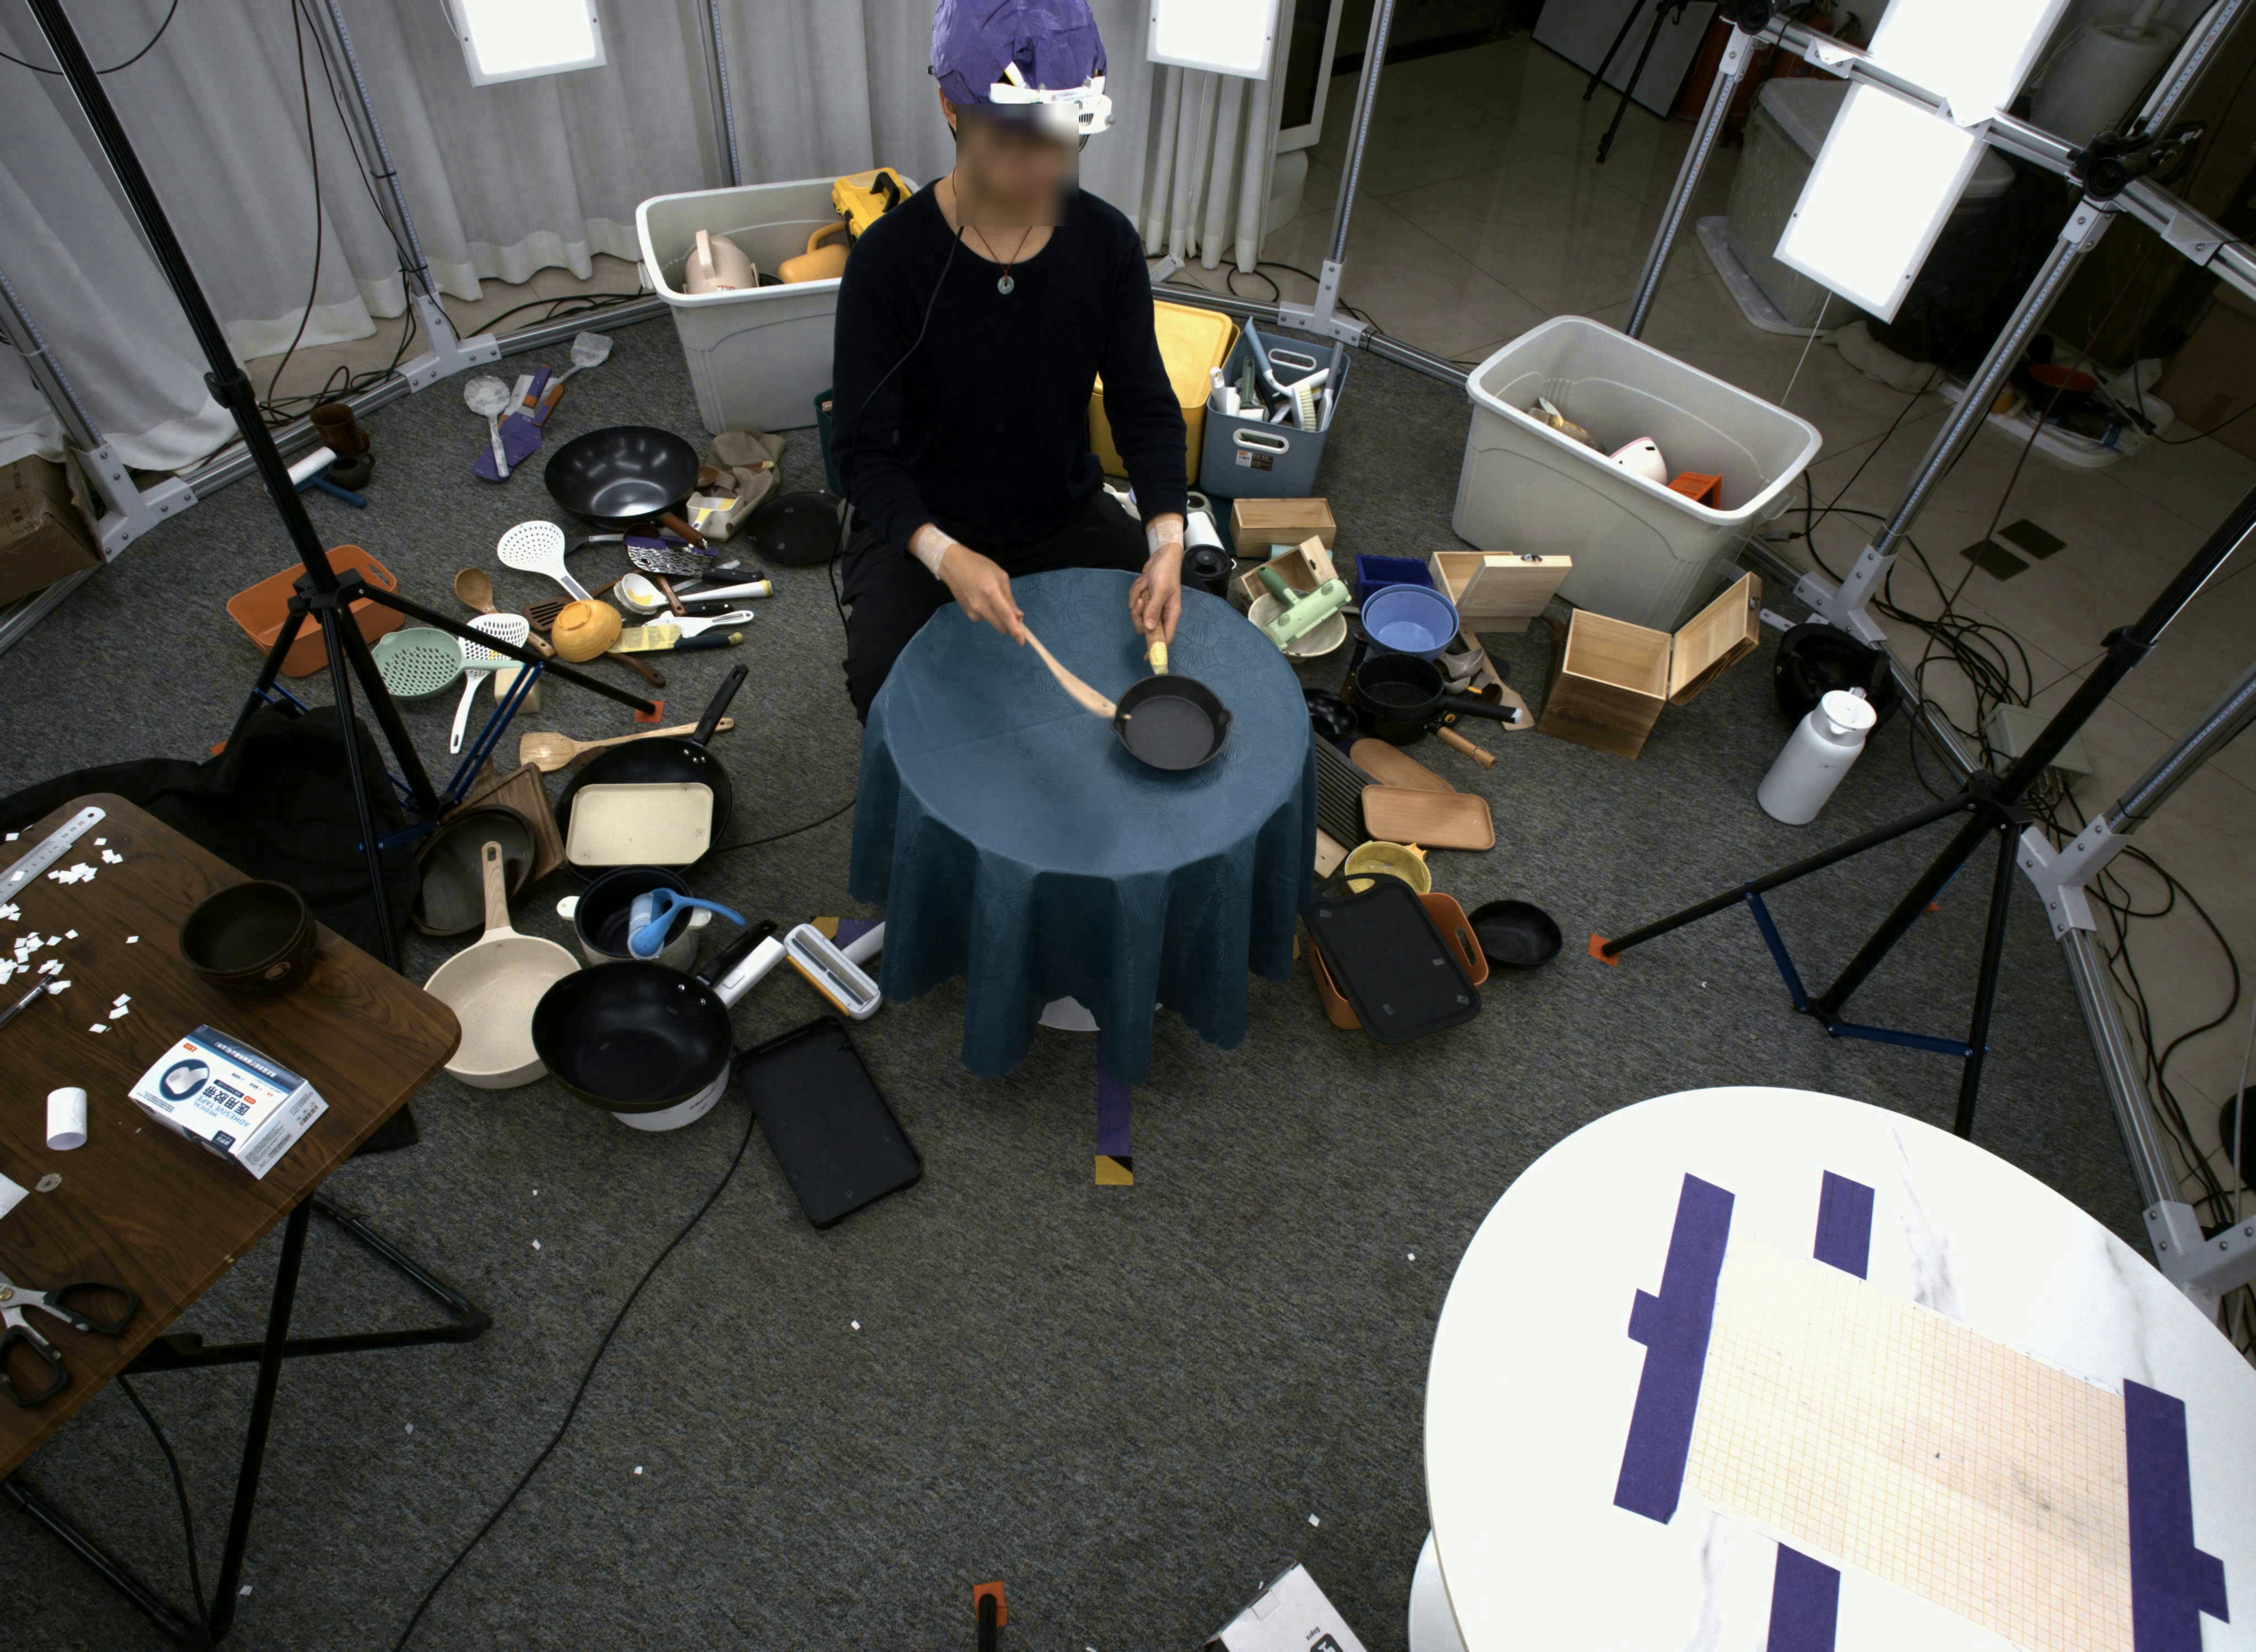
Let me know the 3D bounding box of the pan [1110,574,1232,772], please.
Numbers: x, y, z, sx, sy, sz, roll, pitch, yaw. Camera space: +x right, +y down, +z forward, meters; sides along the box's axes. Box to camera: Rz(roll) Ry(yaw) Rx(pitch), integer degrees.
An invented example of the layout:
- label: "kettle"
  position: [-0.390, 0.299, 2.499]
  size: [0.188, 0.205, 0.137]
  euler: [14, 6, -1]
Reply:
- label: "pan"
  position: [0.049, -0.214, 1.795]
  size: [0.168, 0.048, 0.331]
  euler: [-3, 60, -7]

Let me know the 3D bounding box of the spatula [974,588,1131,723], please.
- label: "spatula"
  position: [-0.109, -0.227, 1.691]
  size: [0.079, 0.016, 0.334]
  euler: [5, 35, -49]
